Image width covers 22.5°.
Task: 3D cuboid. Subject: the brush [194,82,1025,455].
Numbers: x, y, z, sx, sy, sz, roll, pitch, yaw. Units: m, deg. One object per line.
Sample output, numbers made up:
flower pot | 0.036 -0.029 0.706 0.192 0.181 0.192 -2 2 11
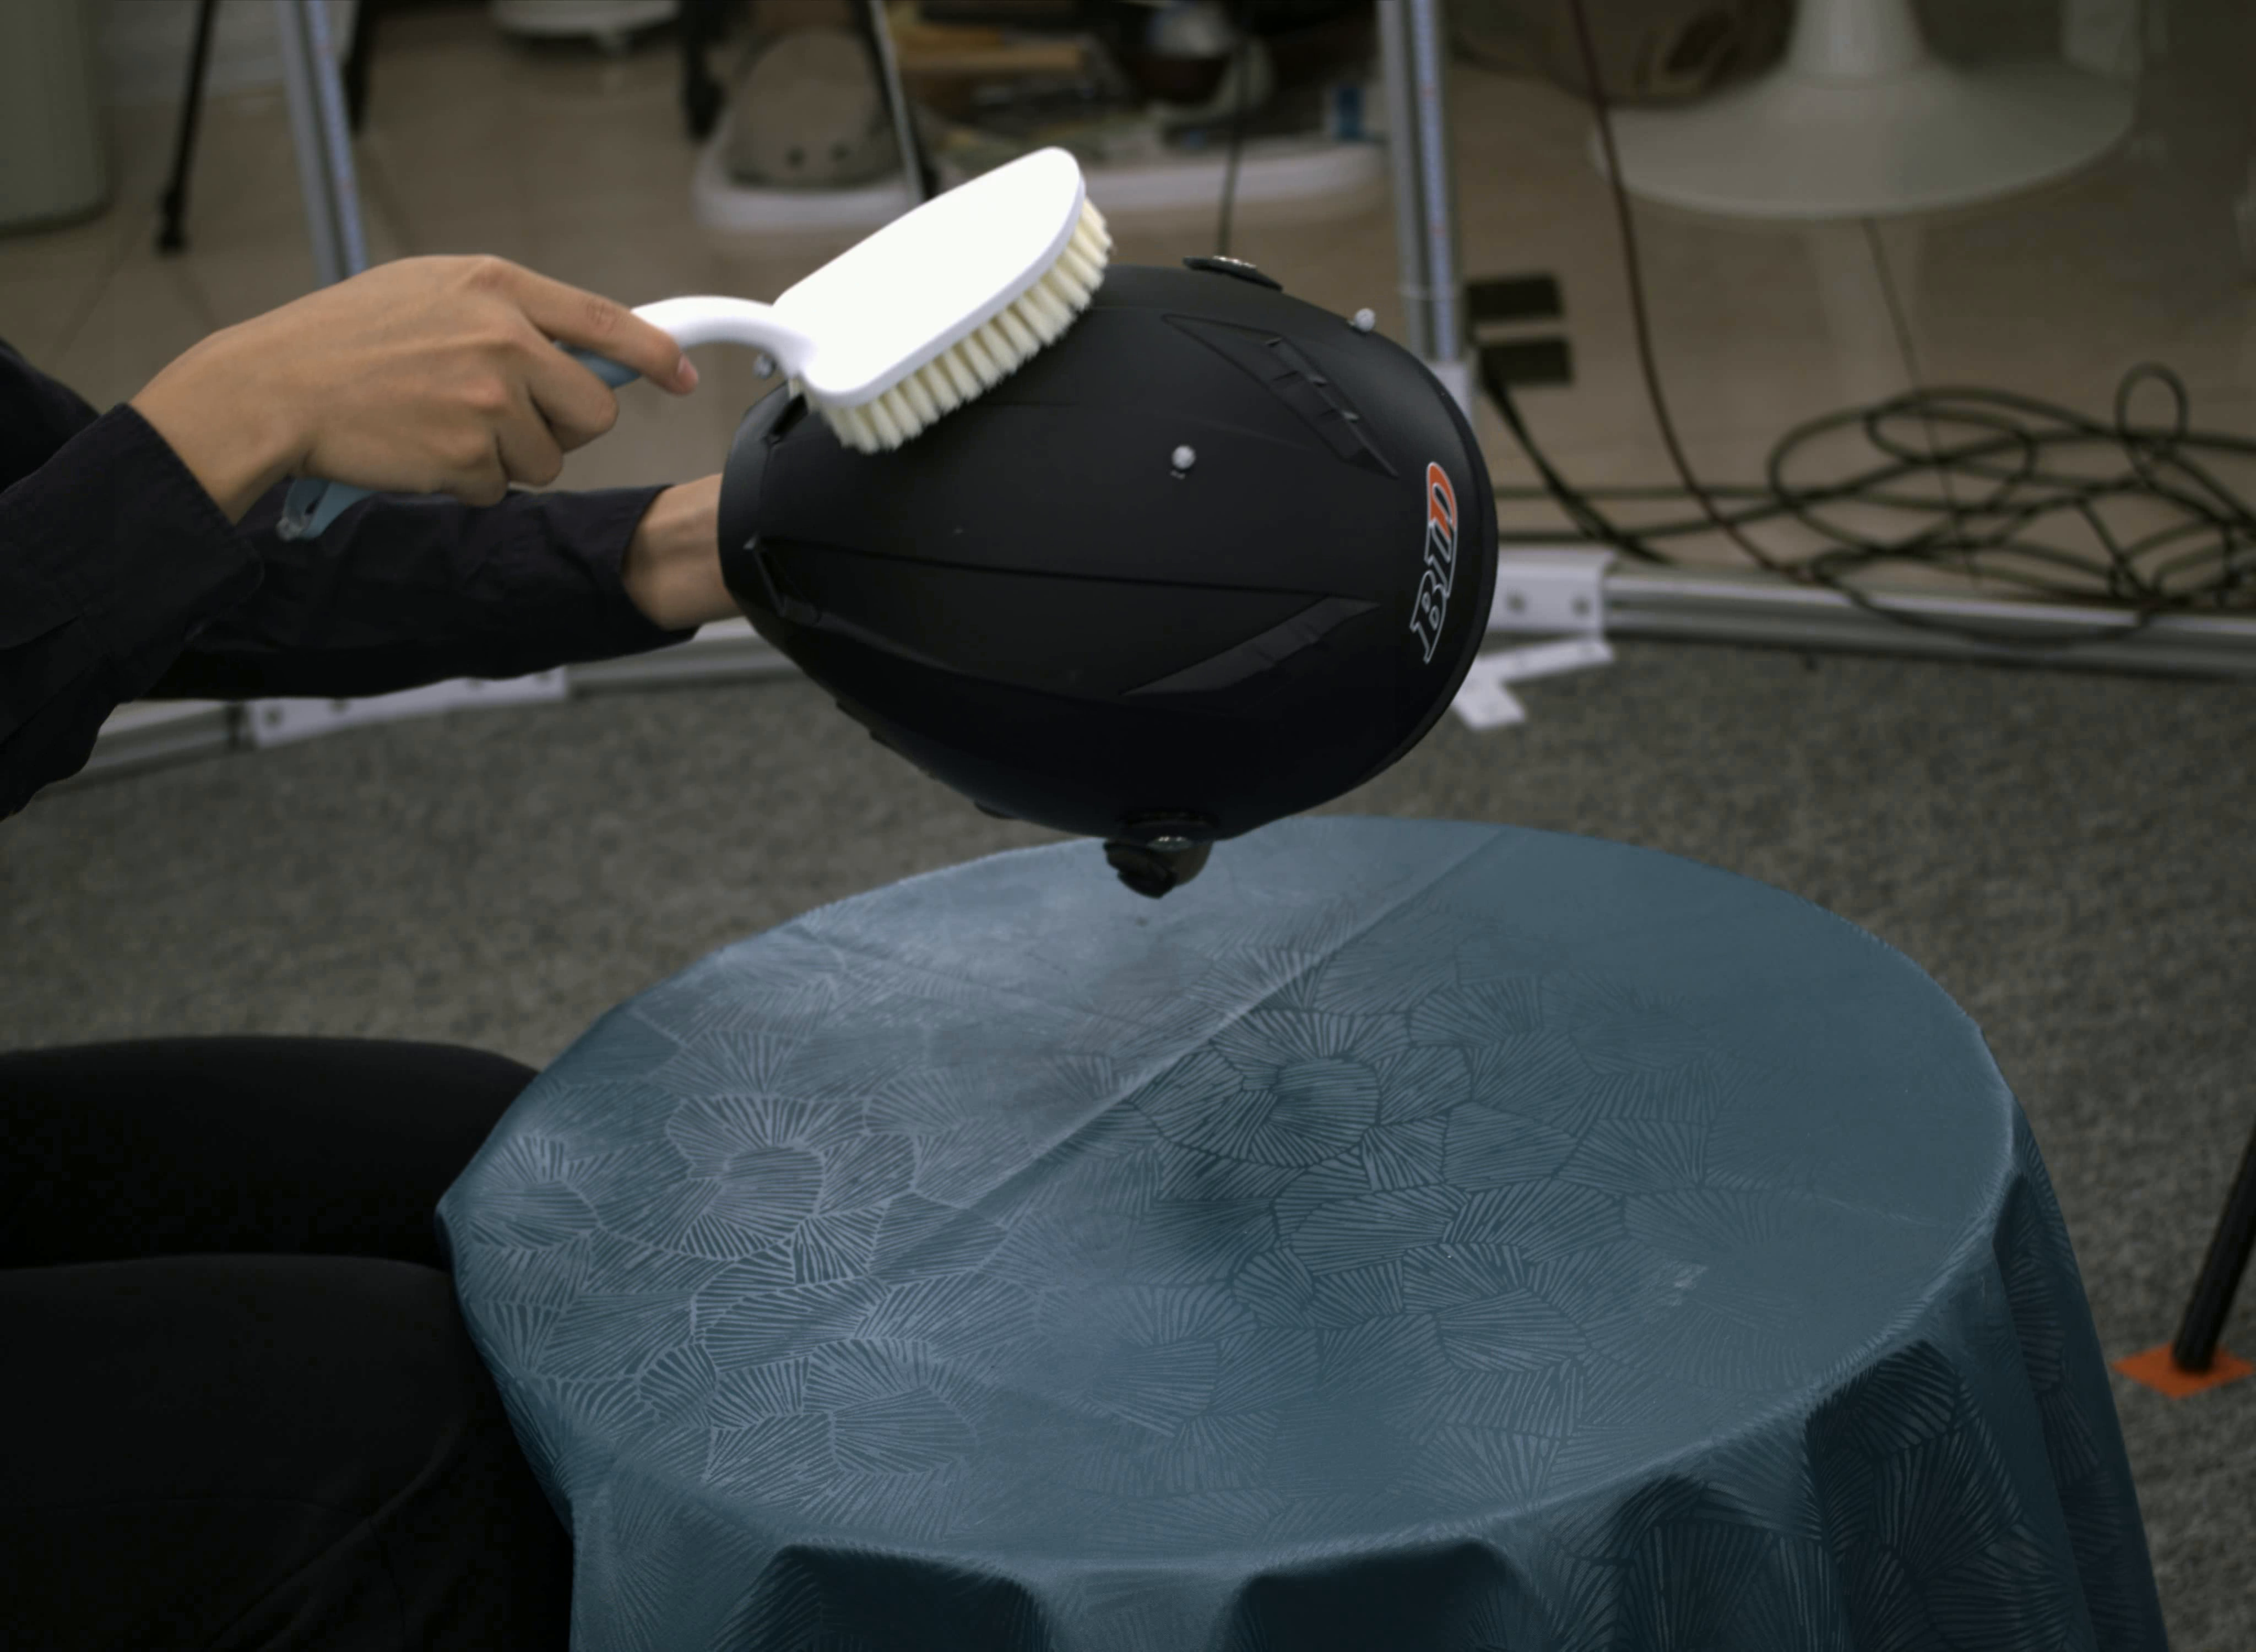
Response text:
brush | -0.186 -0.184 2.067 0.324 0.085 0.083 -24 10 -14

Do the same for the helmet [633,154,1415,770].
helmet | -0.043 -0.148 2.147 0.276 0.246 0.173 5 -5 24
